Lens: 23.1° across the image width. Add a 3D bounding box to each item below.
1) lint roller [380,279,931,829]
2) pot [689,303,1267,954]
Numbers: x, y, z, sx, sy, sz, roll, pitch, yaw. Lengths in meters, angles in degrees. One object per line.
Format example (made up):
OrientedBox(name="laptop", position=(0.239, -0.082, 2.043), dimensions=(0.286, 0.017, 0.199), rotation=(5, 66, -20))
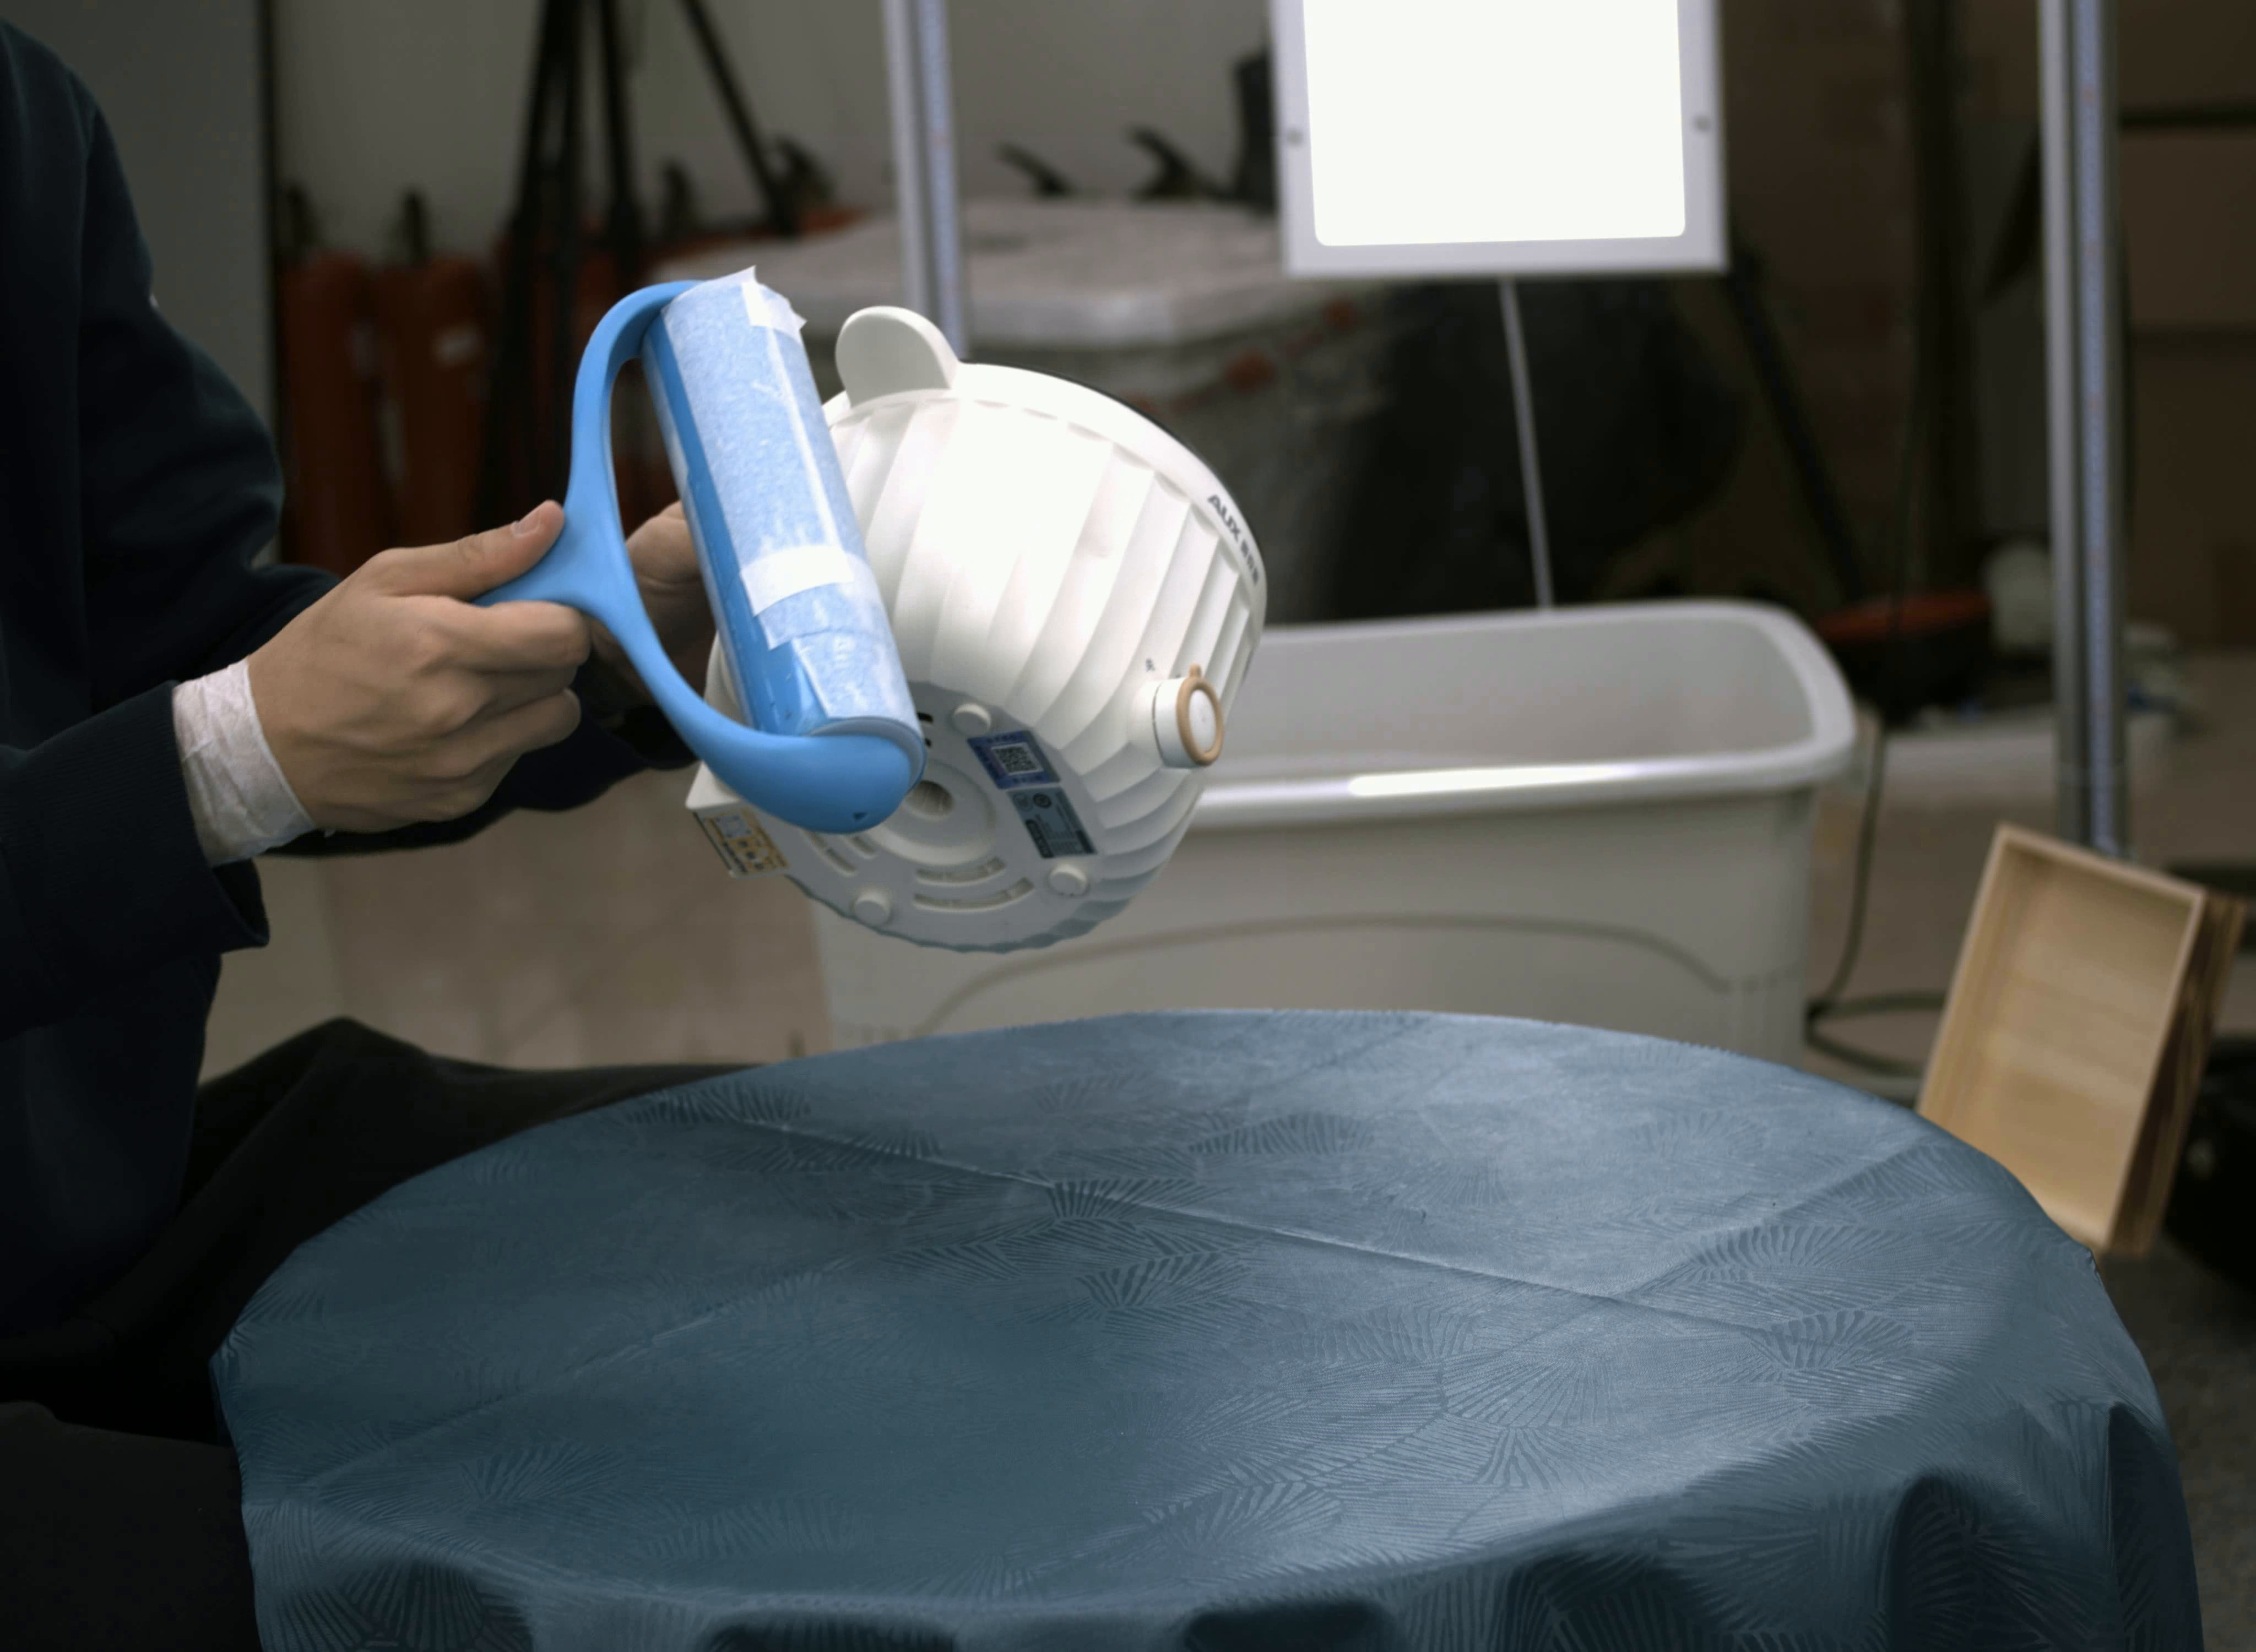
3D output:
OrientedBox(name="lint roller", position=(-0.168, -0.068, 1.784), dimensions=(0.180, 0.067, 0.230), rotation=(-24, 54, 3))
OrientedBox(name="pot", position=(-0.048, -0.050, 1.907), dimensions=(0.194, 0.238, 0.141), rotation=(-10, 42, 25))
